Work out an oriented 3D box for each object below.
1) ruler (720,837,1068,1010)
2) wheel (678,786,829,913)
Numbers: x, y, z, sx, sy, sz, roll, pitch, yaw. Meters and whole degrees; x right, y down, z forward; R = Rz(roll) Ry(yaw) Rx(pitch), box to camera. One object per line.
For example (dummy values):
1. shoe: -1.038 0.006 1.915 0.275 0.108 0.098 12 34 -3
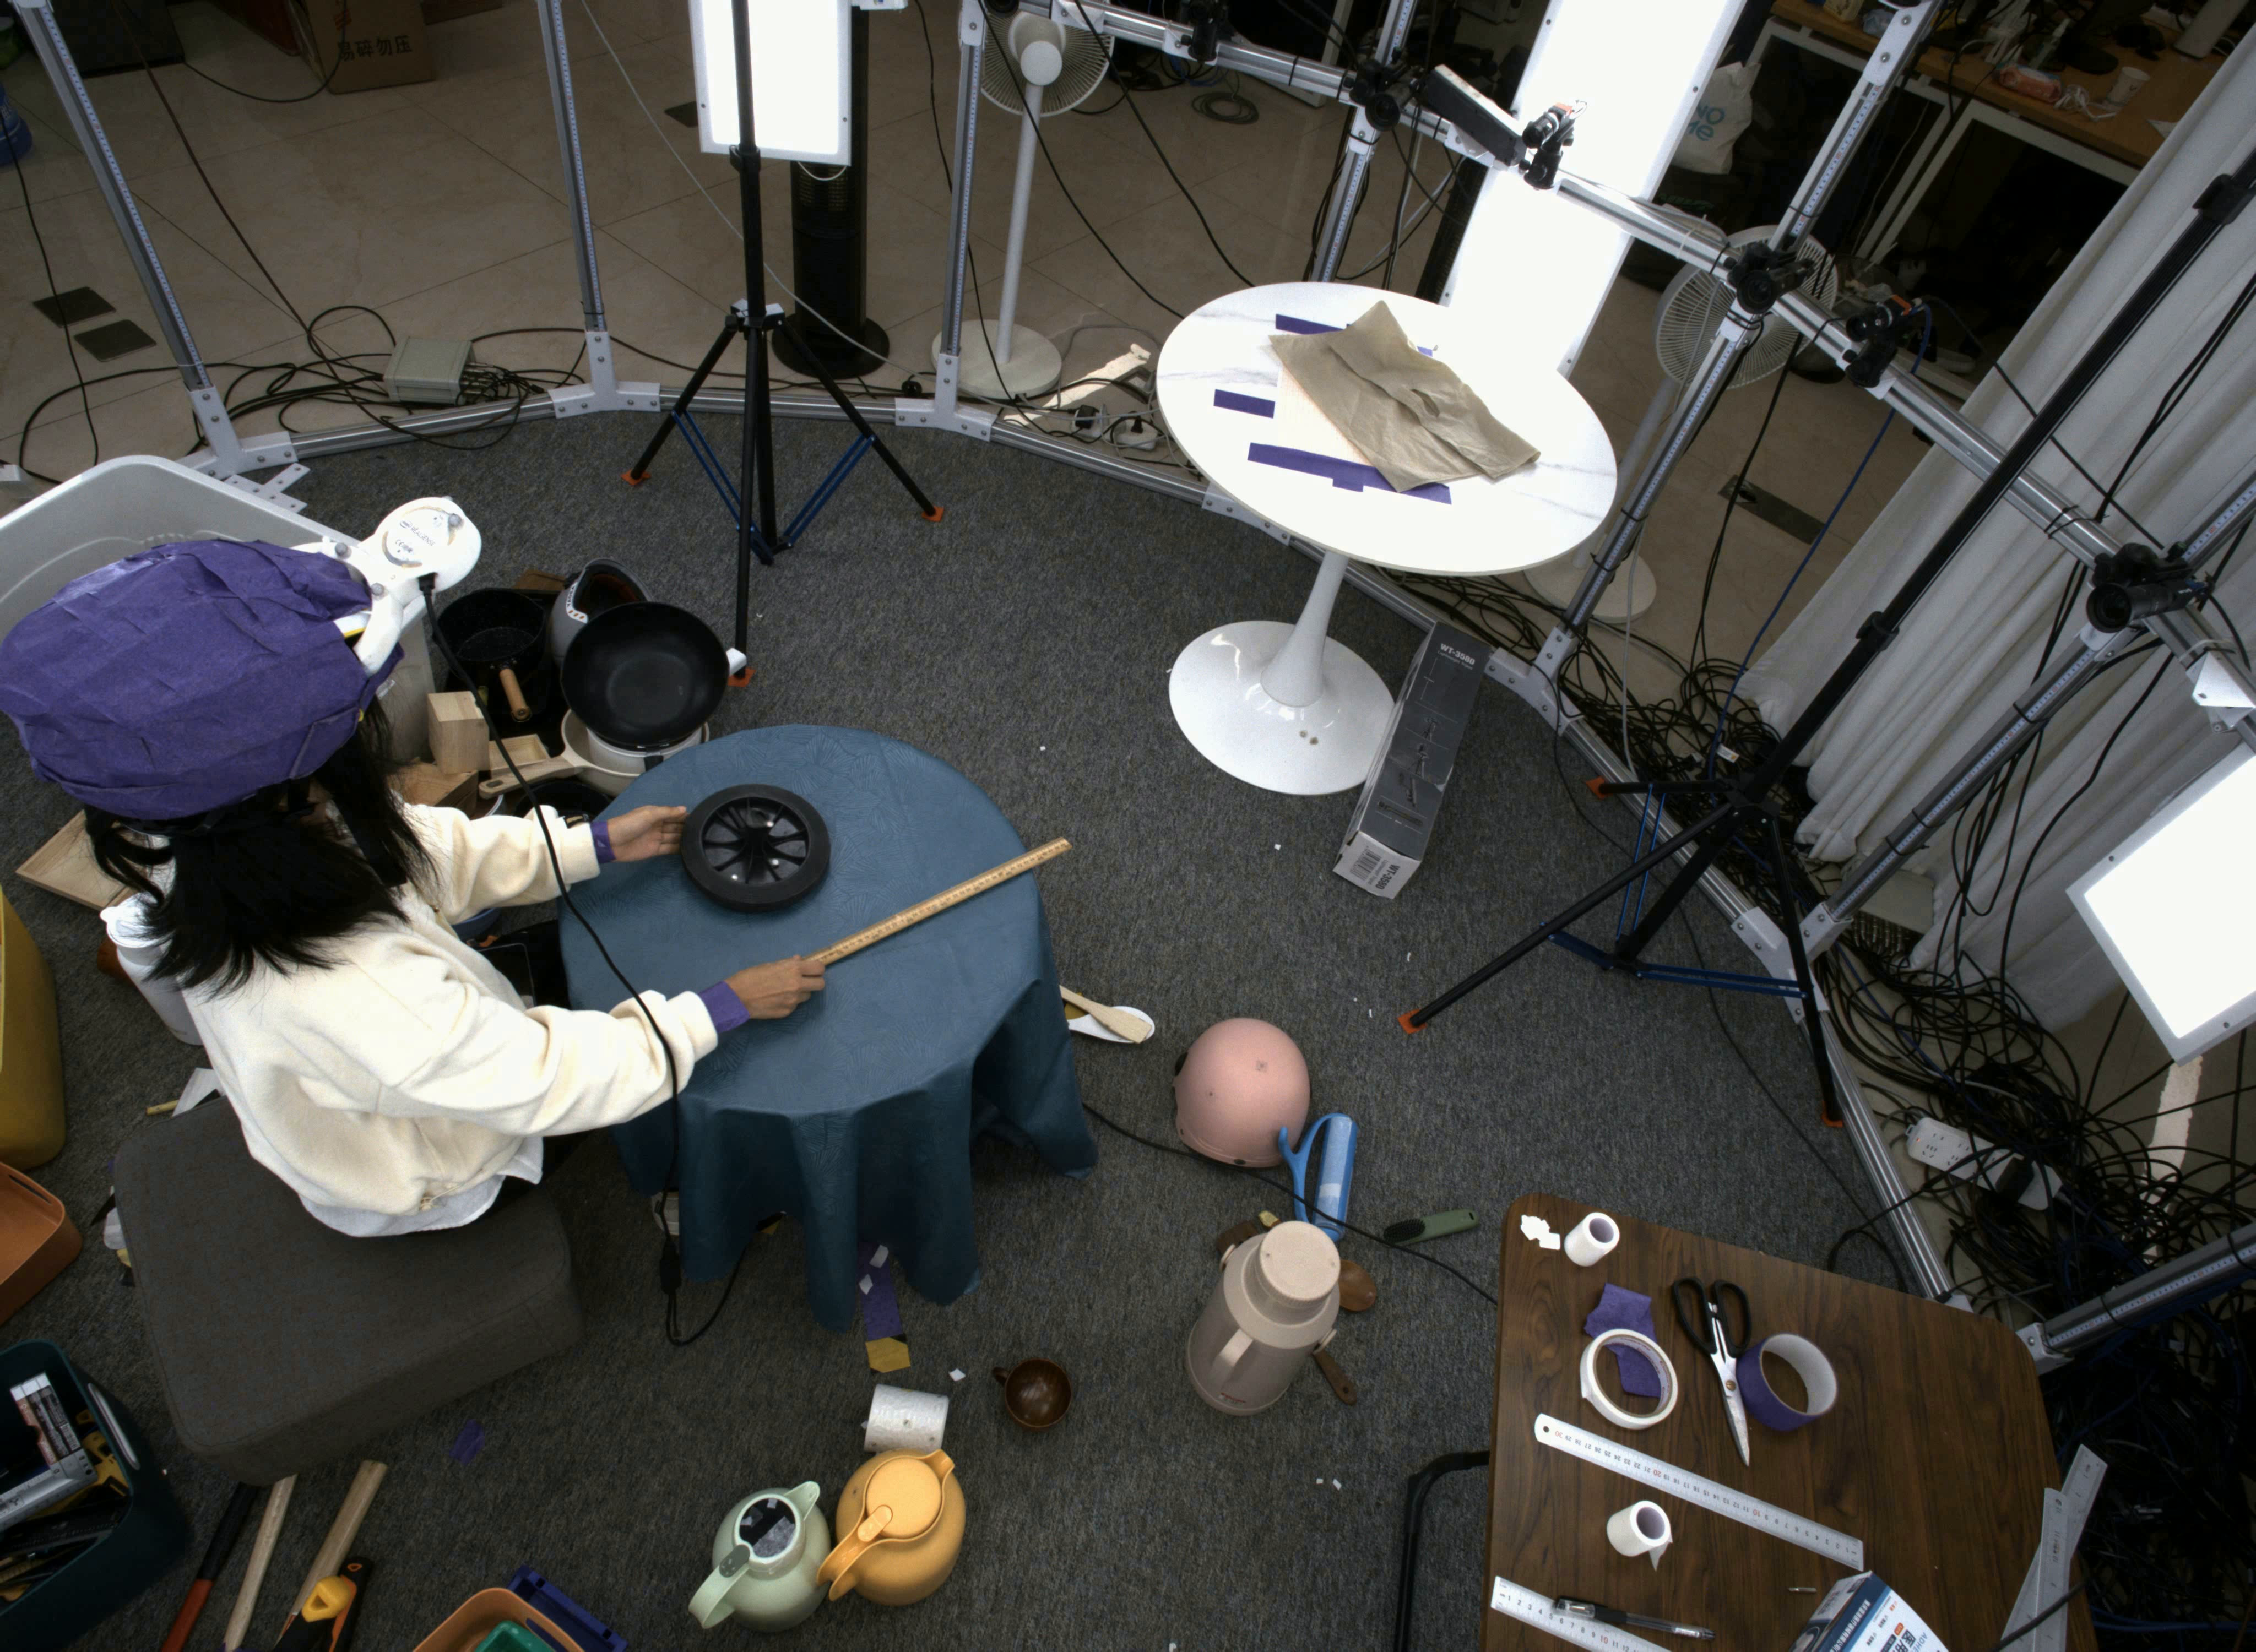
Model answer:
1. ruler: -0.285 0.115 1.661 0.503 0.006 0.026 -26 44 -29
2. wheel: -0.475 0.014 1.643 0.188 0.080 0.186 32 52 5
